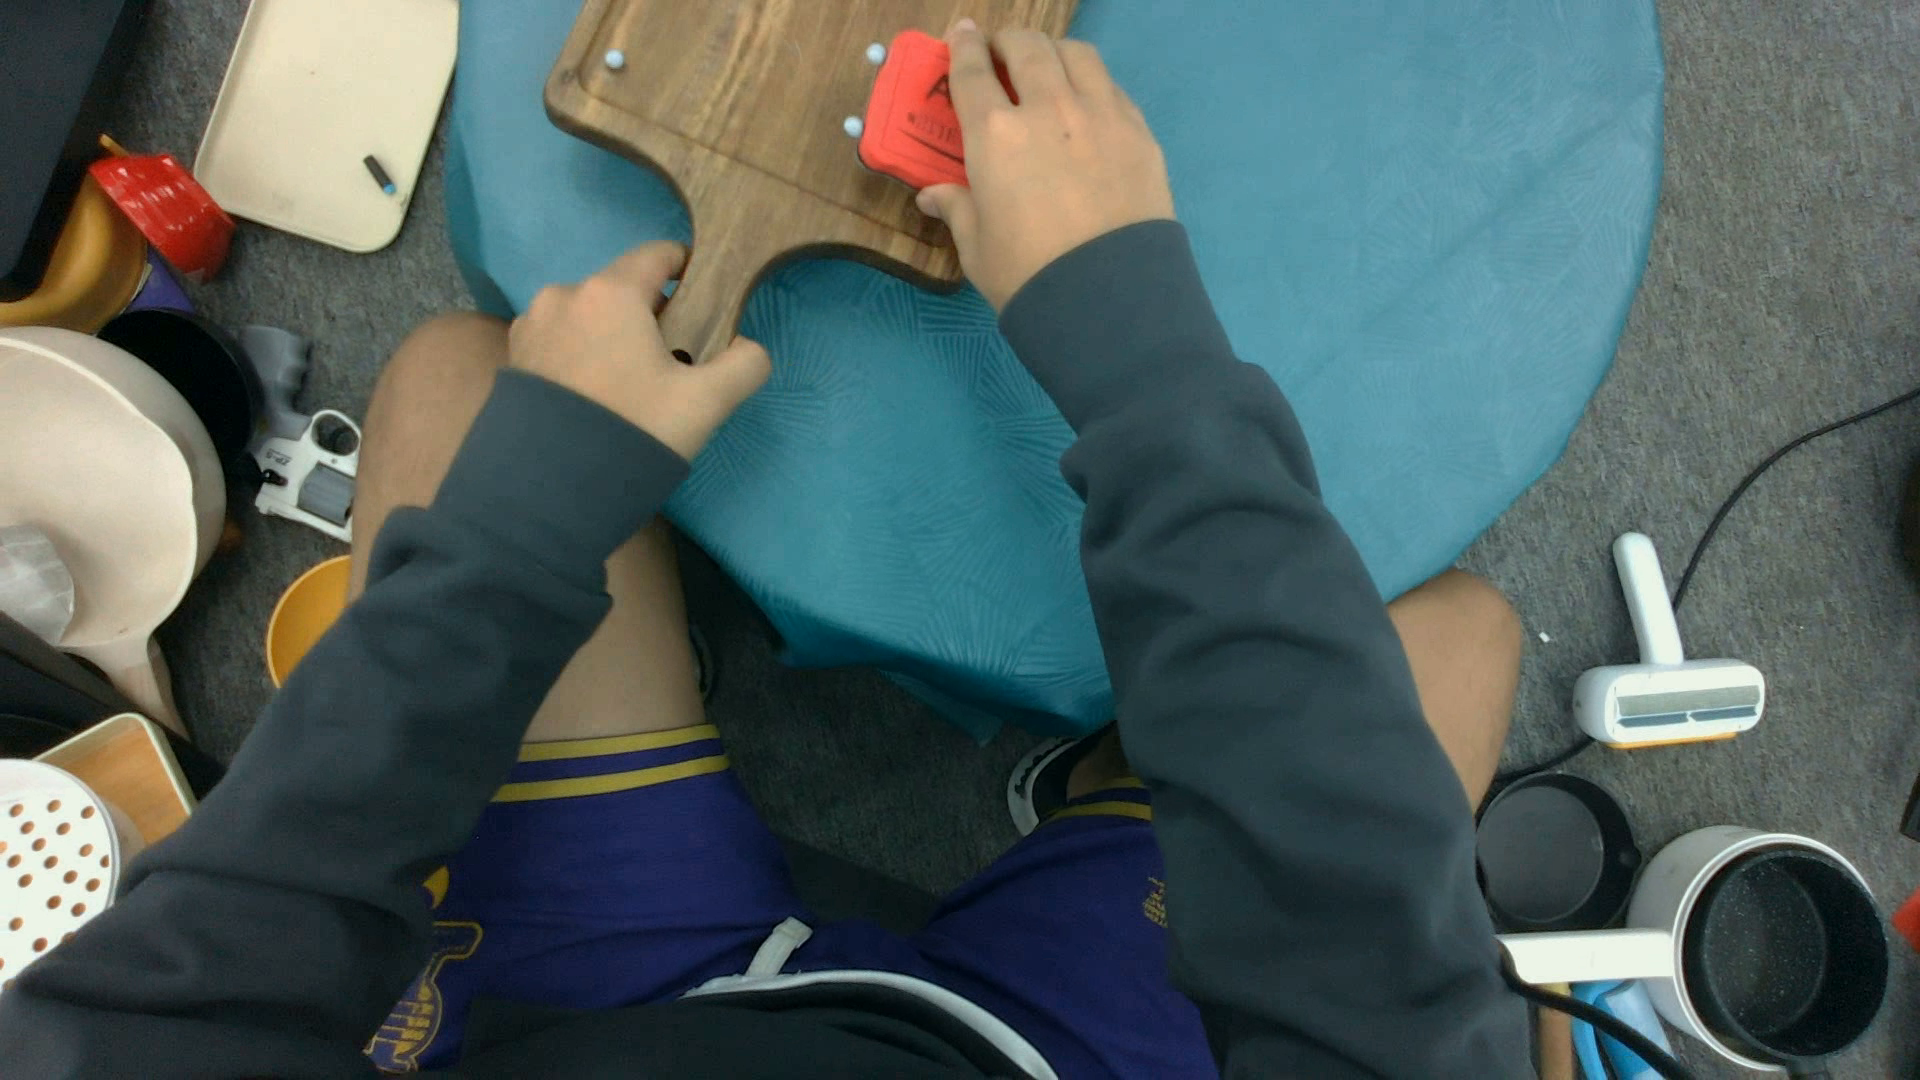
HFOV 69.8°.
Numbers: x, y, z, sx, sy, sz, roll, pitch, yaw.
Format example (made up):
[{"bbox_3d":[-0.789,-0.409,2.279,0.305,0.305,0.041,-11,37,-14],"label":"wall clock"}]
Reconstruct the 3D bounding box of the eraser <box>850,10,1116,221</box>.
[{"bbox_3d":[0.011,-0.179,0.586,0.108,0.023,0.059,15,89,-21],"label":"eraser"}]

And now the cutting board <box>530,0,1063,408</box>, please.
[{"bbox_3d":[-0.069,-0.219,0.611,0.201,0.023,0.353,22,74,-7],"label":"cutting board"}]
